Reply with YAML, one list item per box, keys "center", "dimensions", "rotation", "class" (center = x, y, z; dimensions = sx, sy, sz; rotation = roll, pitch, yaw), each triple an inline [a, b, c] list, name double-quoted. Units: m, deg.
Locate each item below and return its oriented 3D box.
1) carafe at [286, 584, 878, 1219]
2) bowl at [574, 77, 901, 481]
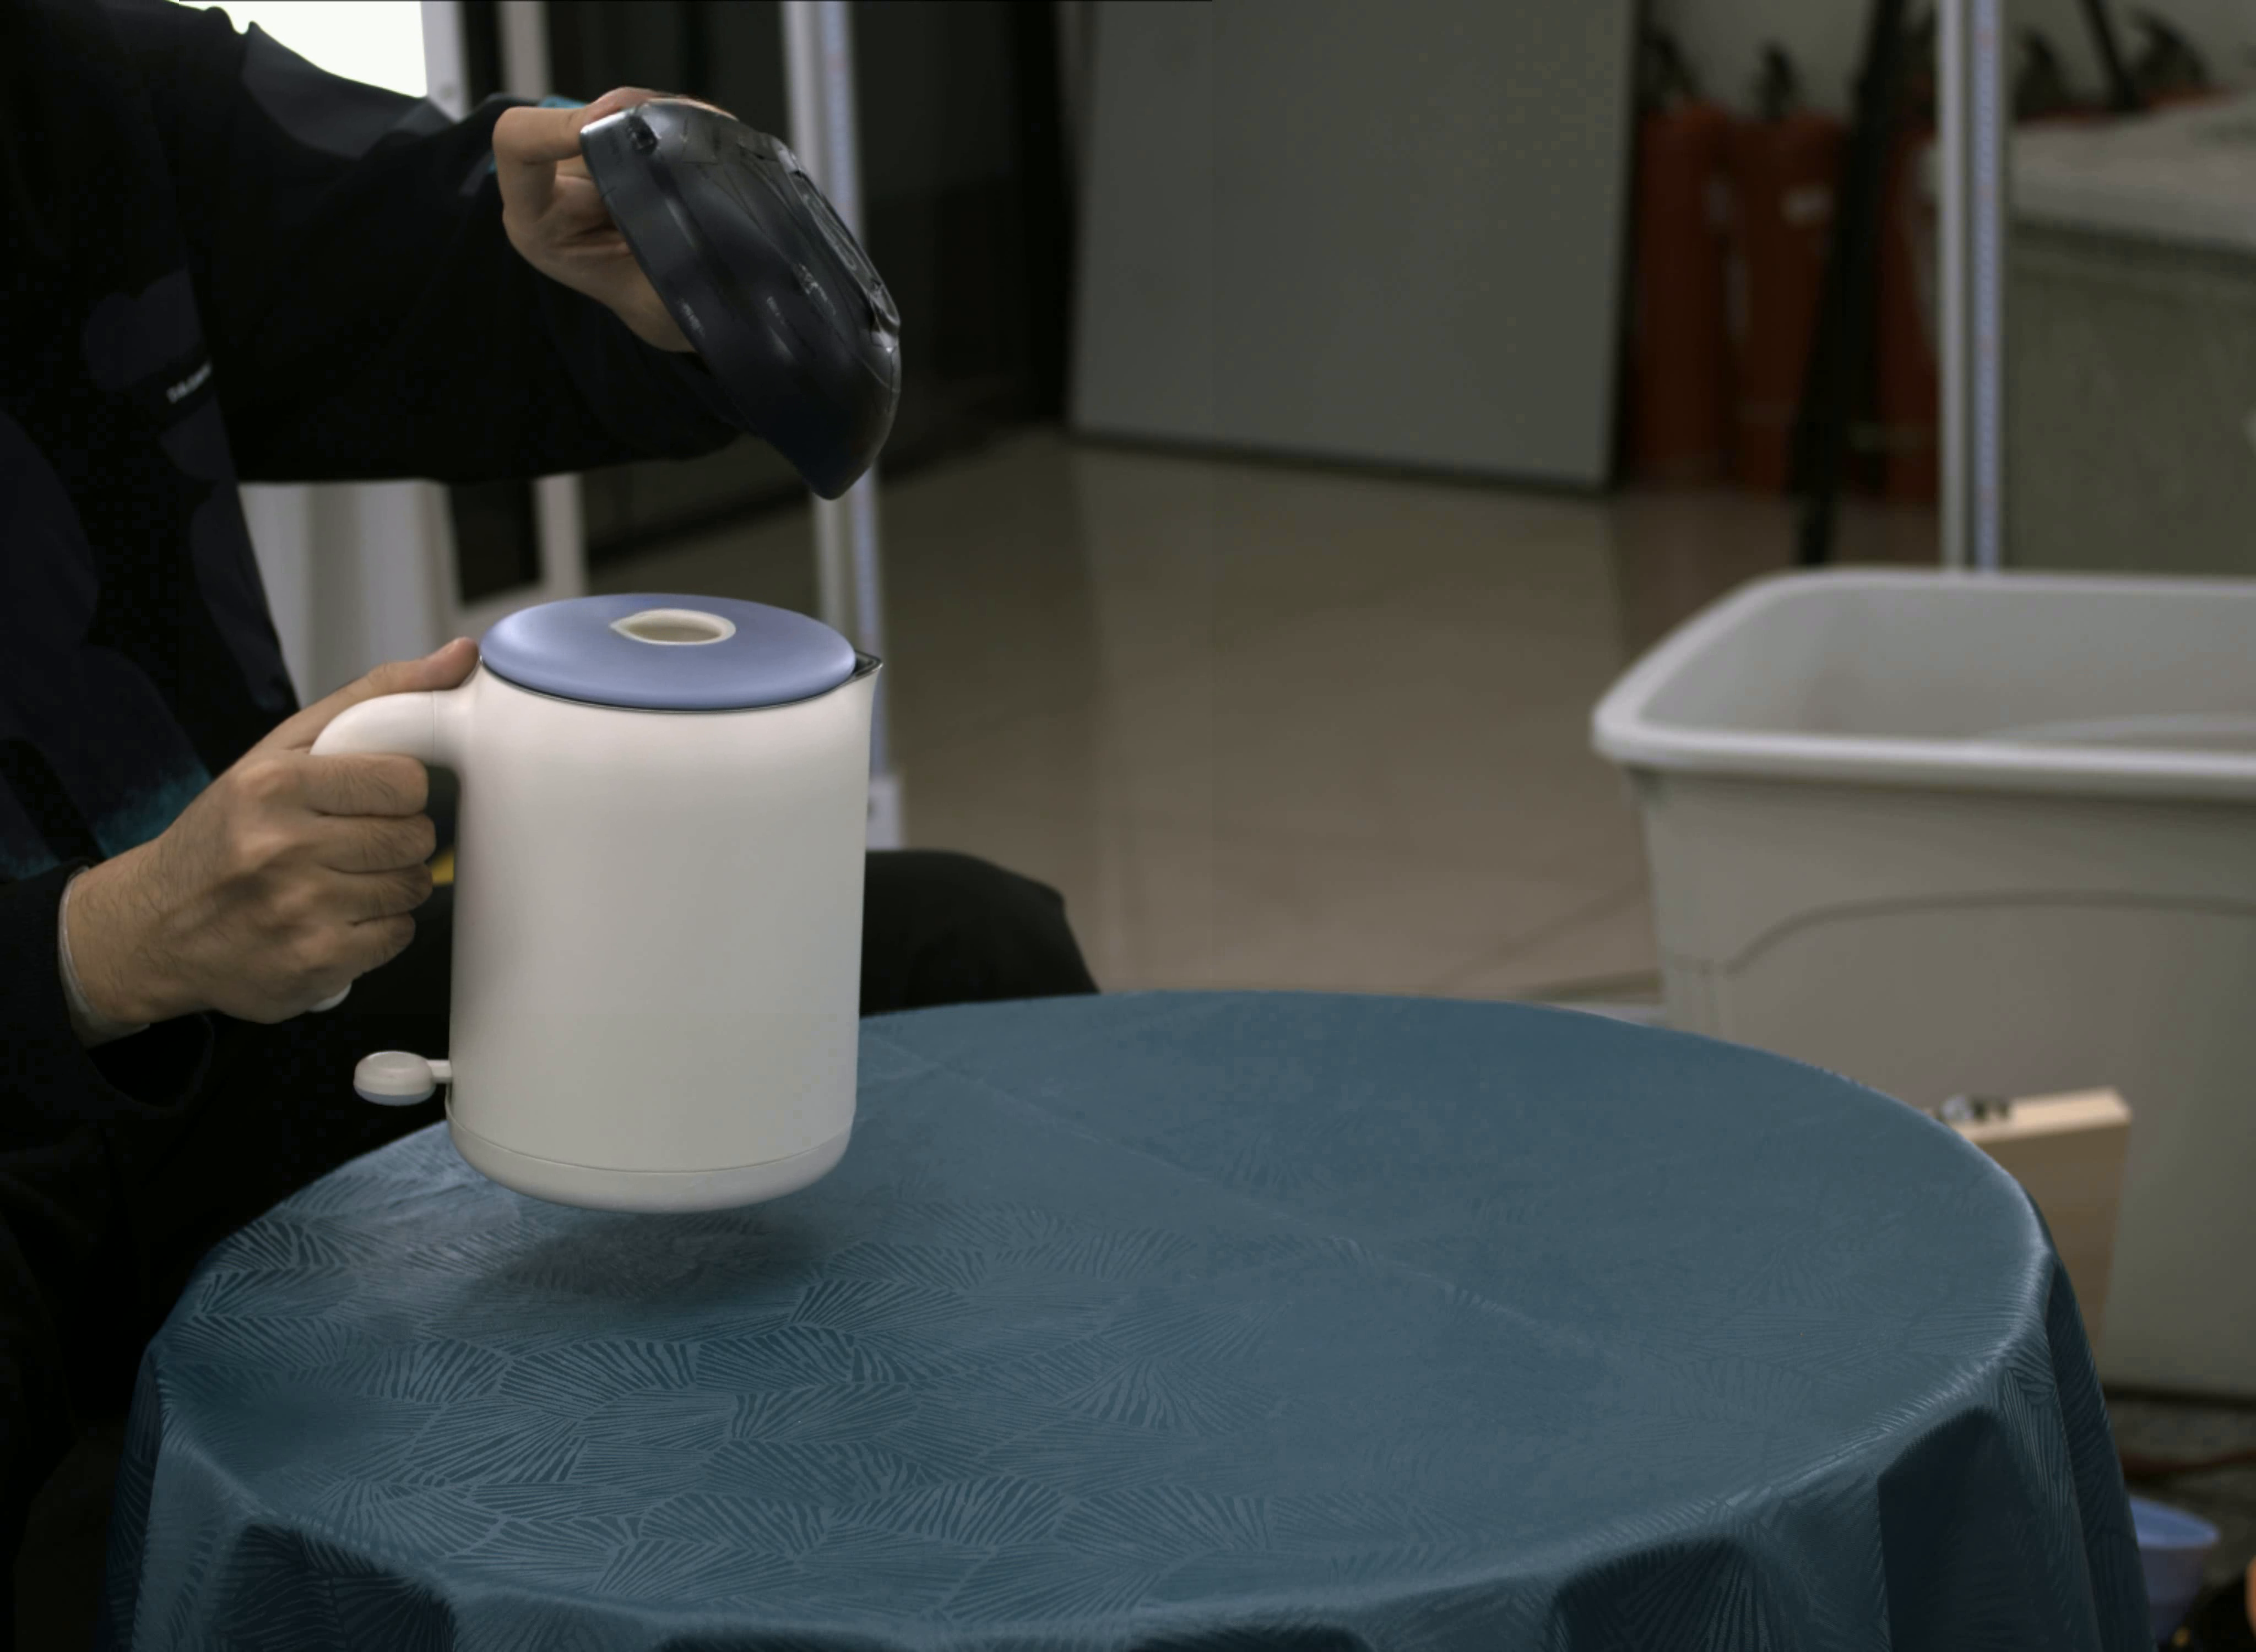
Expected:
- center: [-0.170, 0.024, 1.702]
  dimensions: [0.187, 0.184, 0.133]
  rotation: [-3, 15, -11]
  class: "carafe"
- center: [-0.110, -0.177, 1.660]
  dimensions: [0.050, 0.140, 0.140]
  rotation: [-34, 10, 8]
  class: "bowl"
